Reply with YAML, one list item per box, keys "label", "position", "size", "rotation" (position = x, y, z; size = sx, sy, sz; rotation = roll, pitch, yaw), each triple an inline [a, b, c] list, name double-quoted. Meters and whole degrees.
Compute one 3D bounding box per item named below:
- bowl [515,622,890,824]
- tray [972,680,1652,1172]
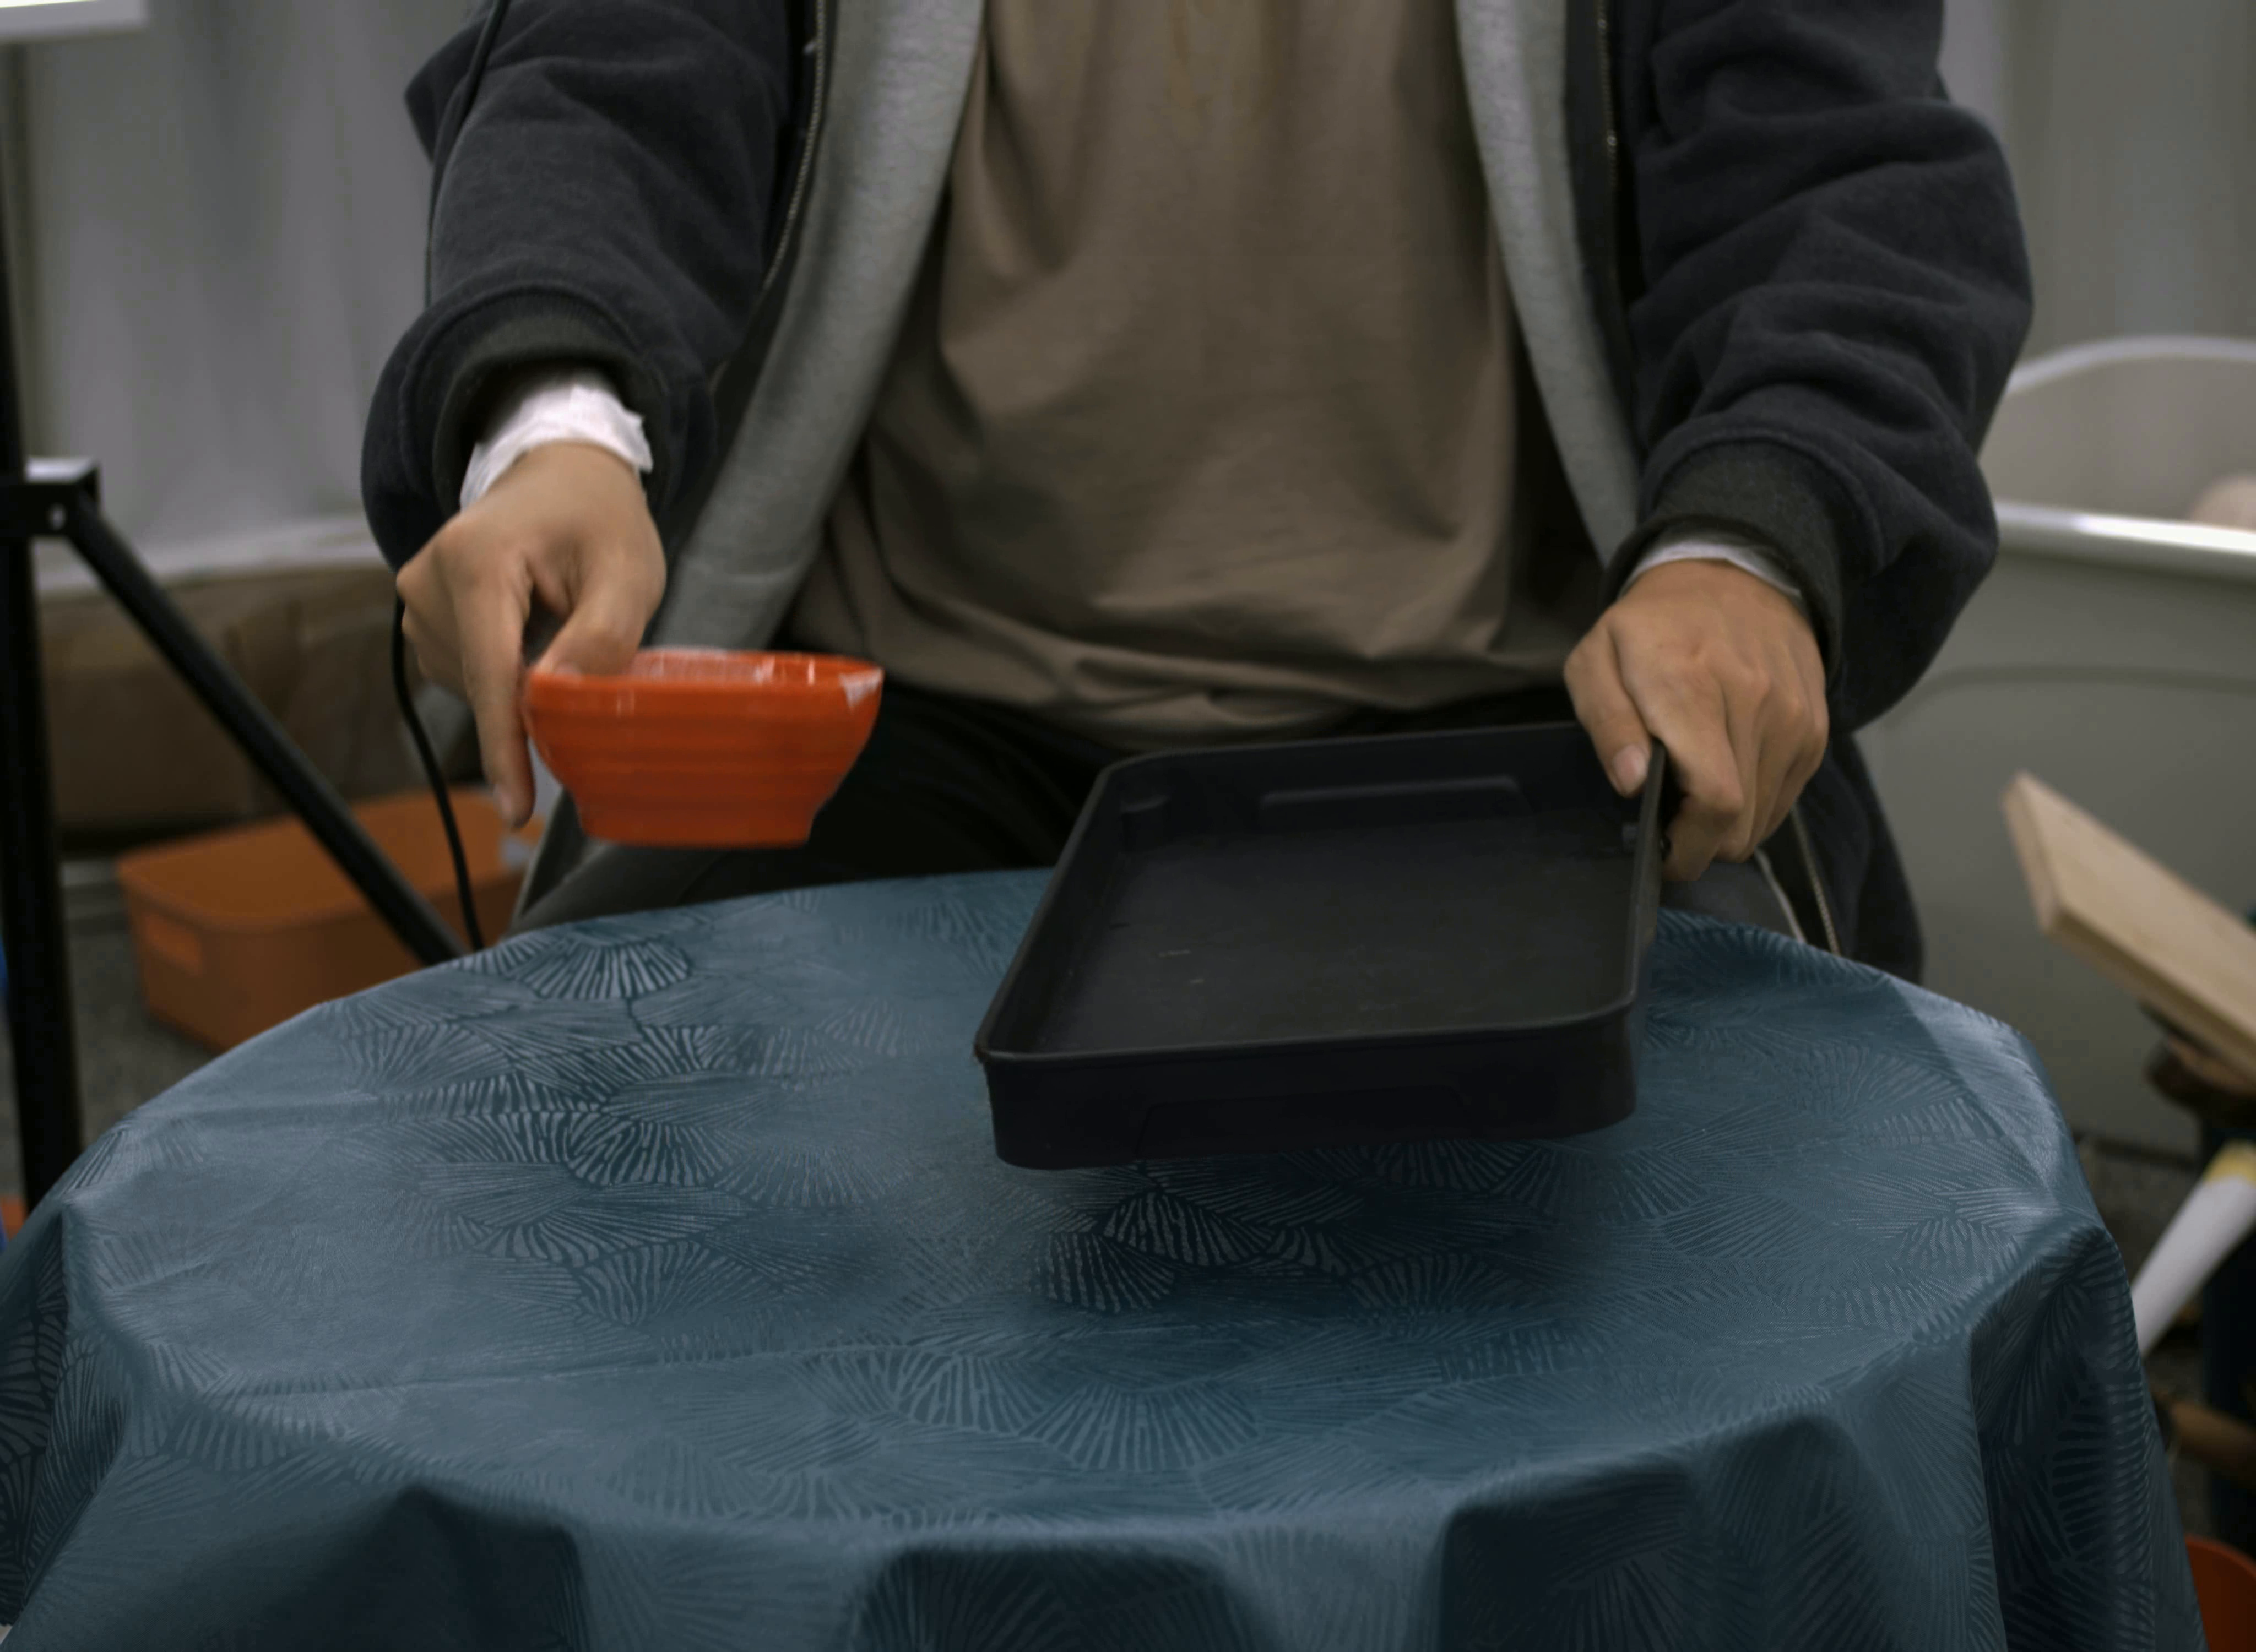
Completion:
- label: "bowl"
  position: [-0.126, -0.030, 1.579]
  size: [0.118, 0.051, 0.119]
  rotation: [0, 8, -1]
- label: "tray"
  position: [0.063, 0.025, 1.577]
  size: [0.185, 0.037, 0.318]
  rotation: [-4, 18, 8]
